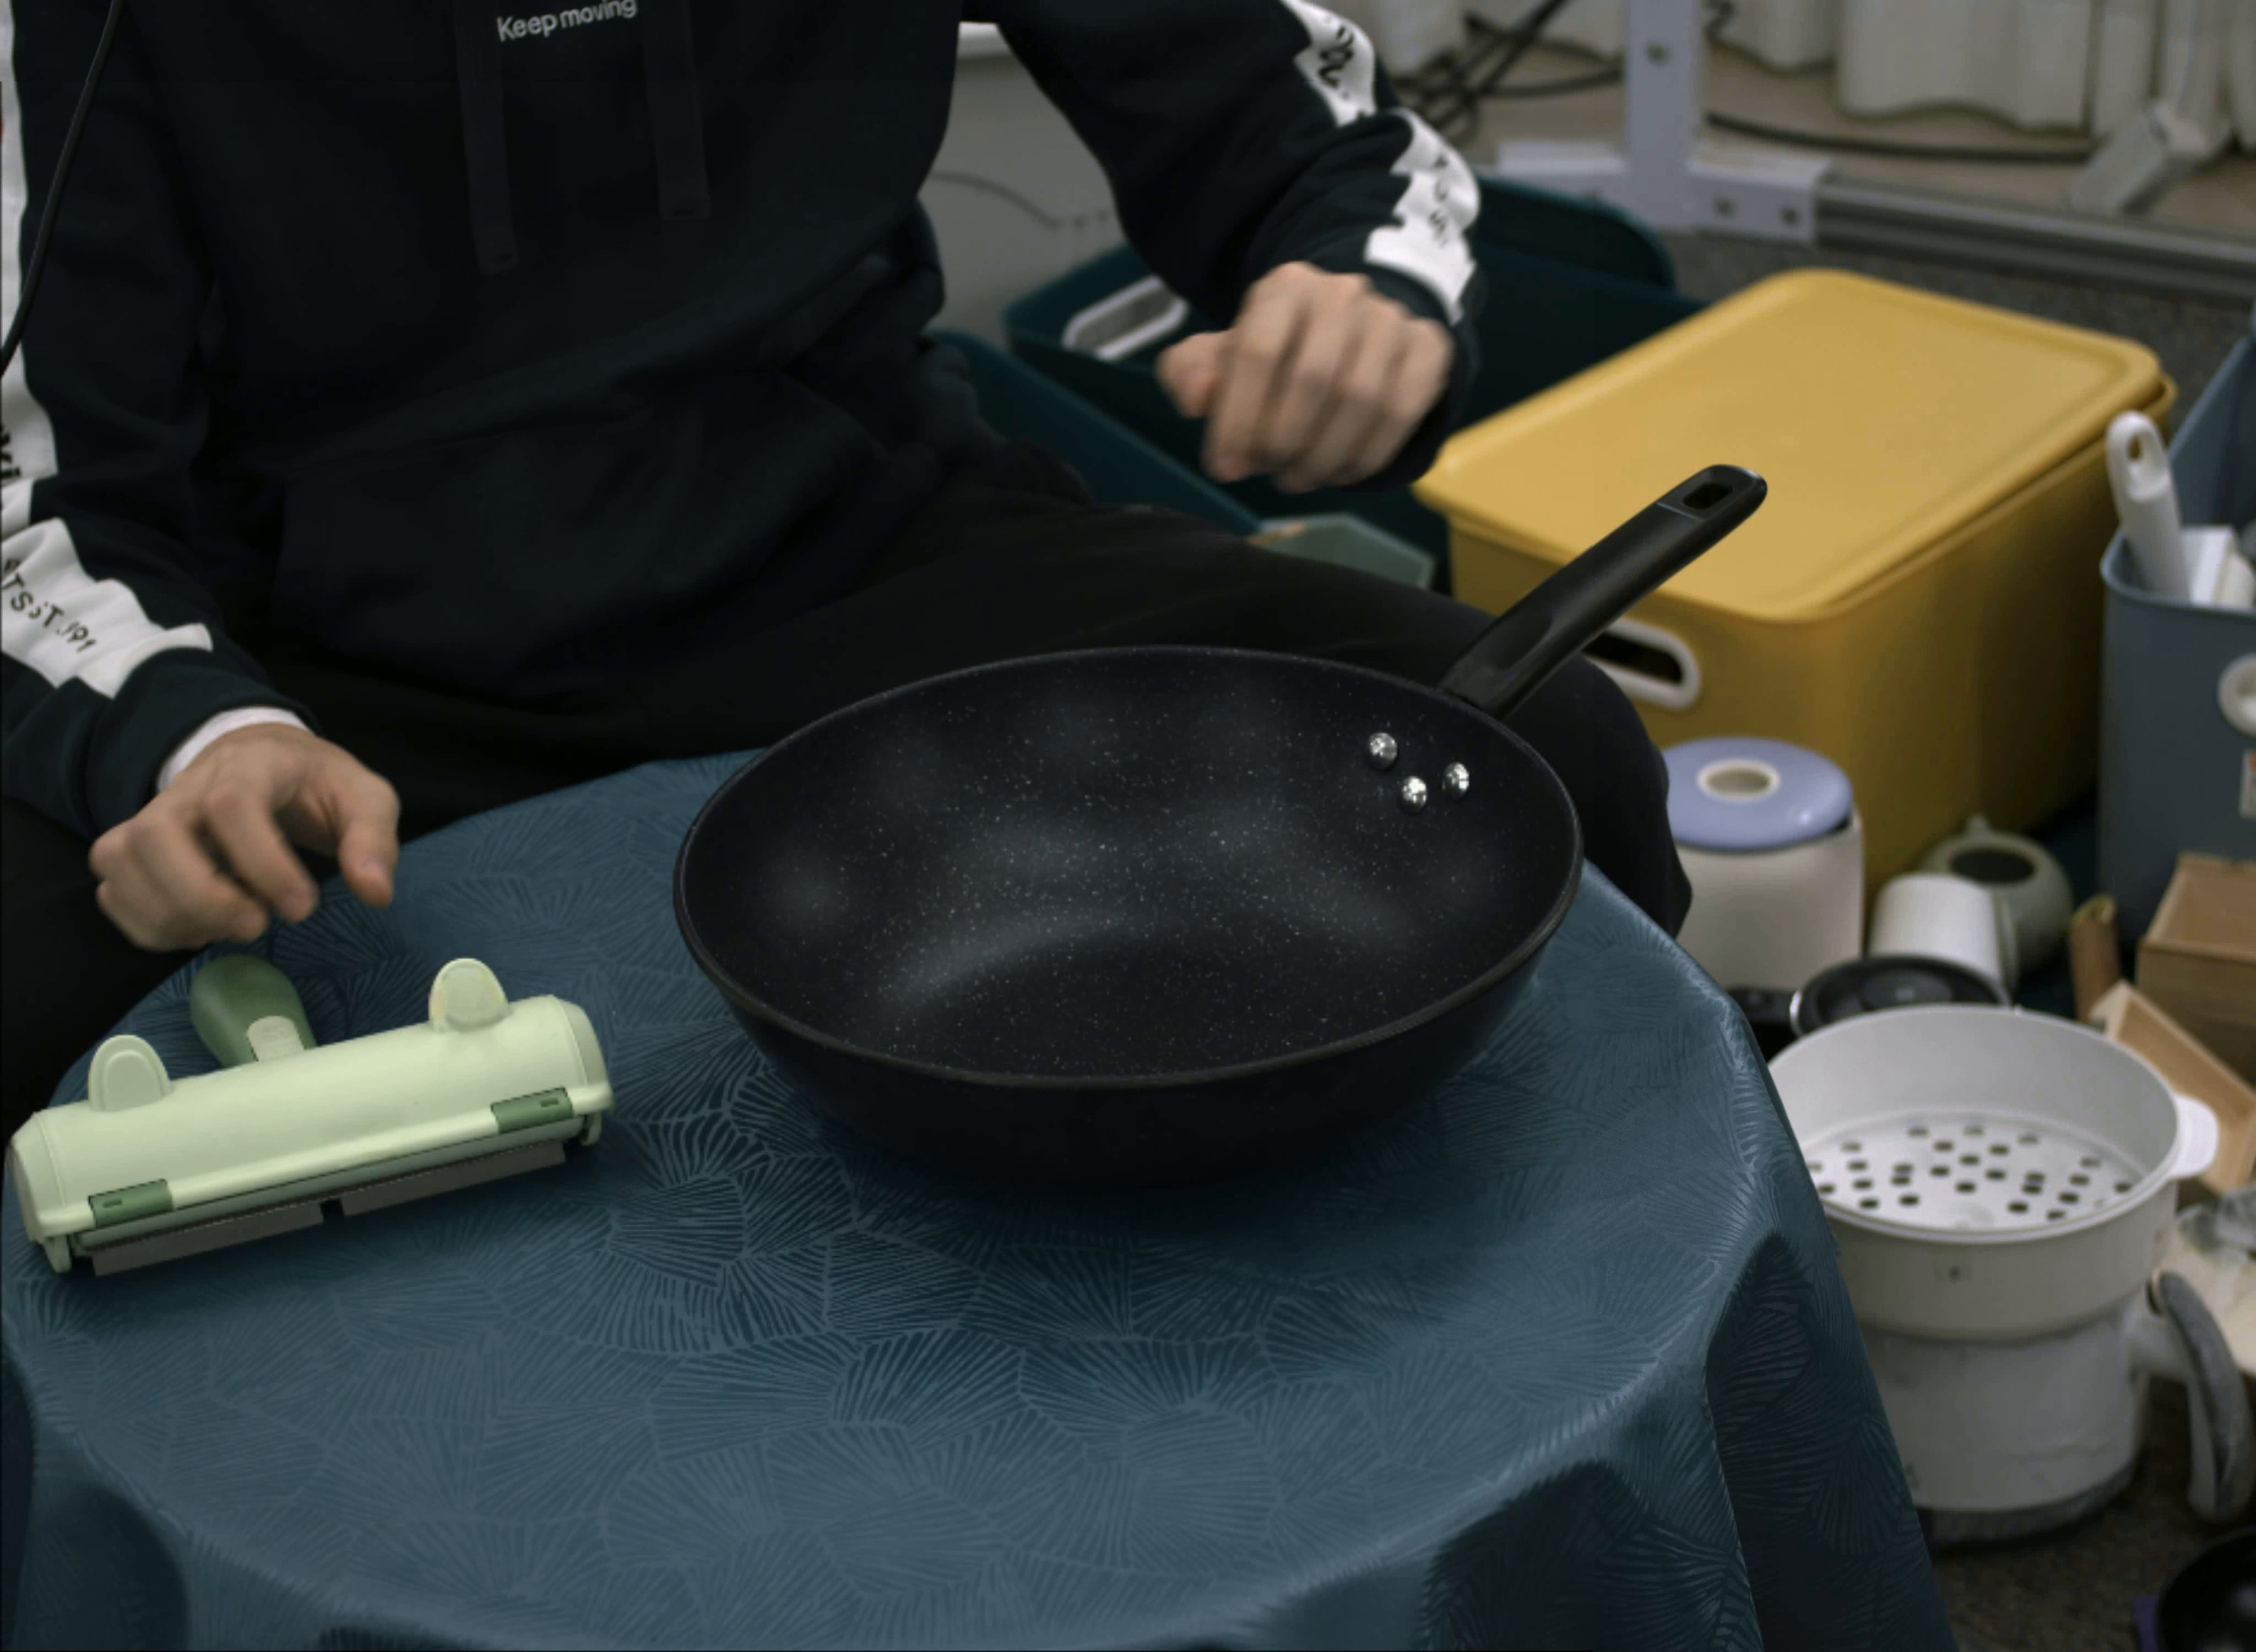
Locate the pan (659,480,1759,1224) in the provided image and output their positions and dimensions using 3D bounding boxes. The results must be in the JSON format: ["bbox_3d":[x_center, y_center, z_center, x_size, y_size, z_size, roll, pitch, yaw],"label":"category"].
[{"bbox_3d":[0.057,0.009,1.958,0.482,0.110,0.310,-27,37,-37],"label":"pan"}]

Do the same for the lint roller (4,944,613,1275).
[{"bbox_3d":[-0.291,0.069,1.908,0.199,0.081,0.185,-13,34,-18],"label":"lint roller"}]
